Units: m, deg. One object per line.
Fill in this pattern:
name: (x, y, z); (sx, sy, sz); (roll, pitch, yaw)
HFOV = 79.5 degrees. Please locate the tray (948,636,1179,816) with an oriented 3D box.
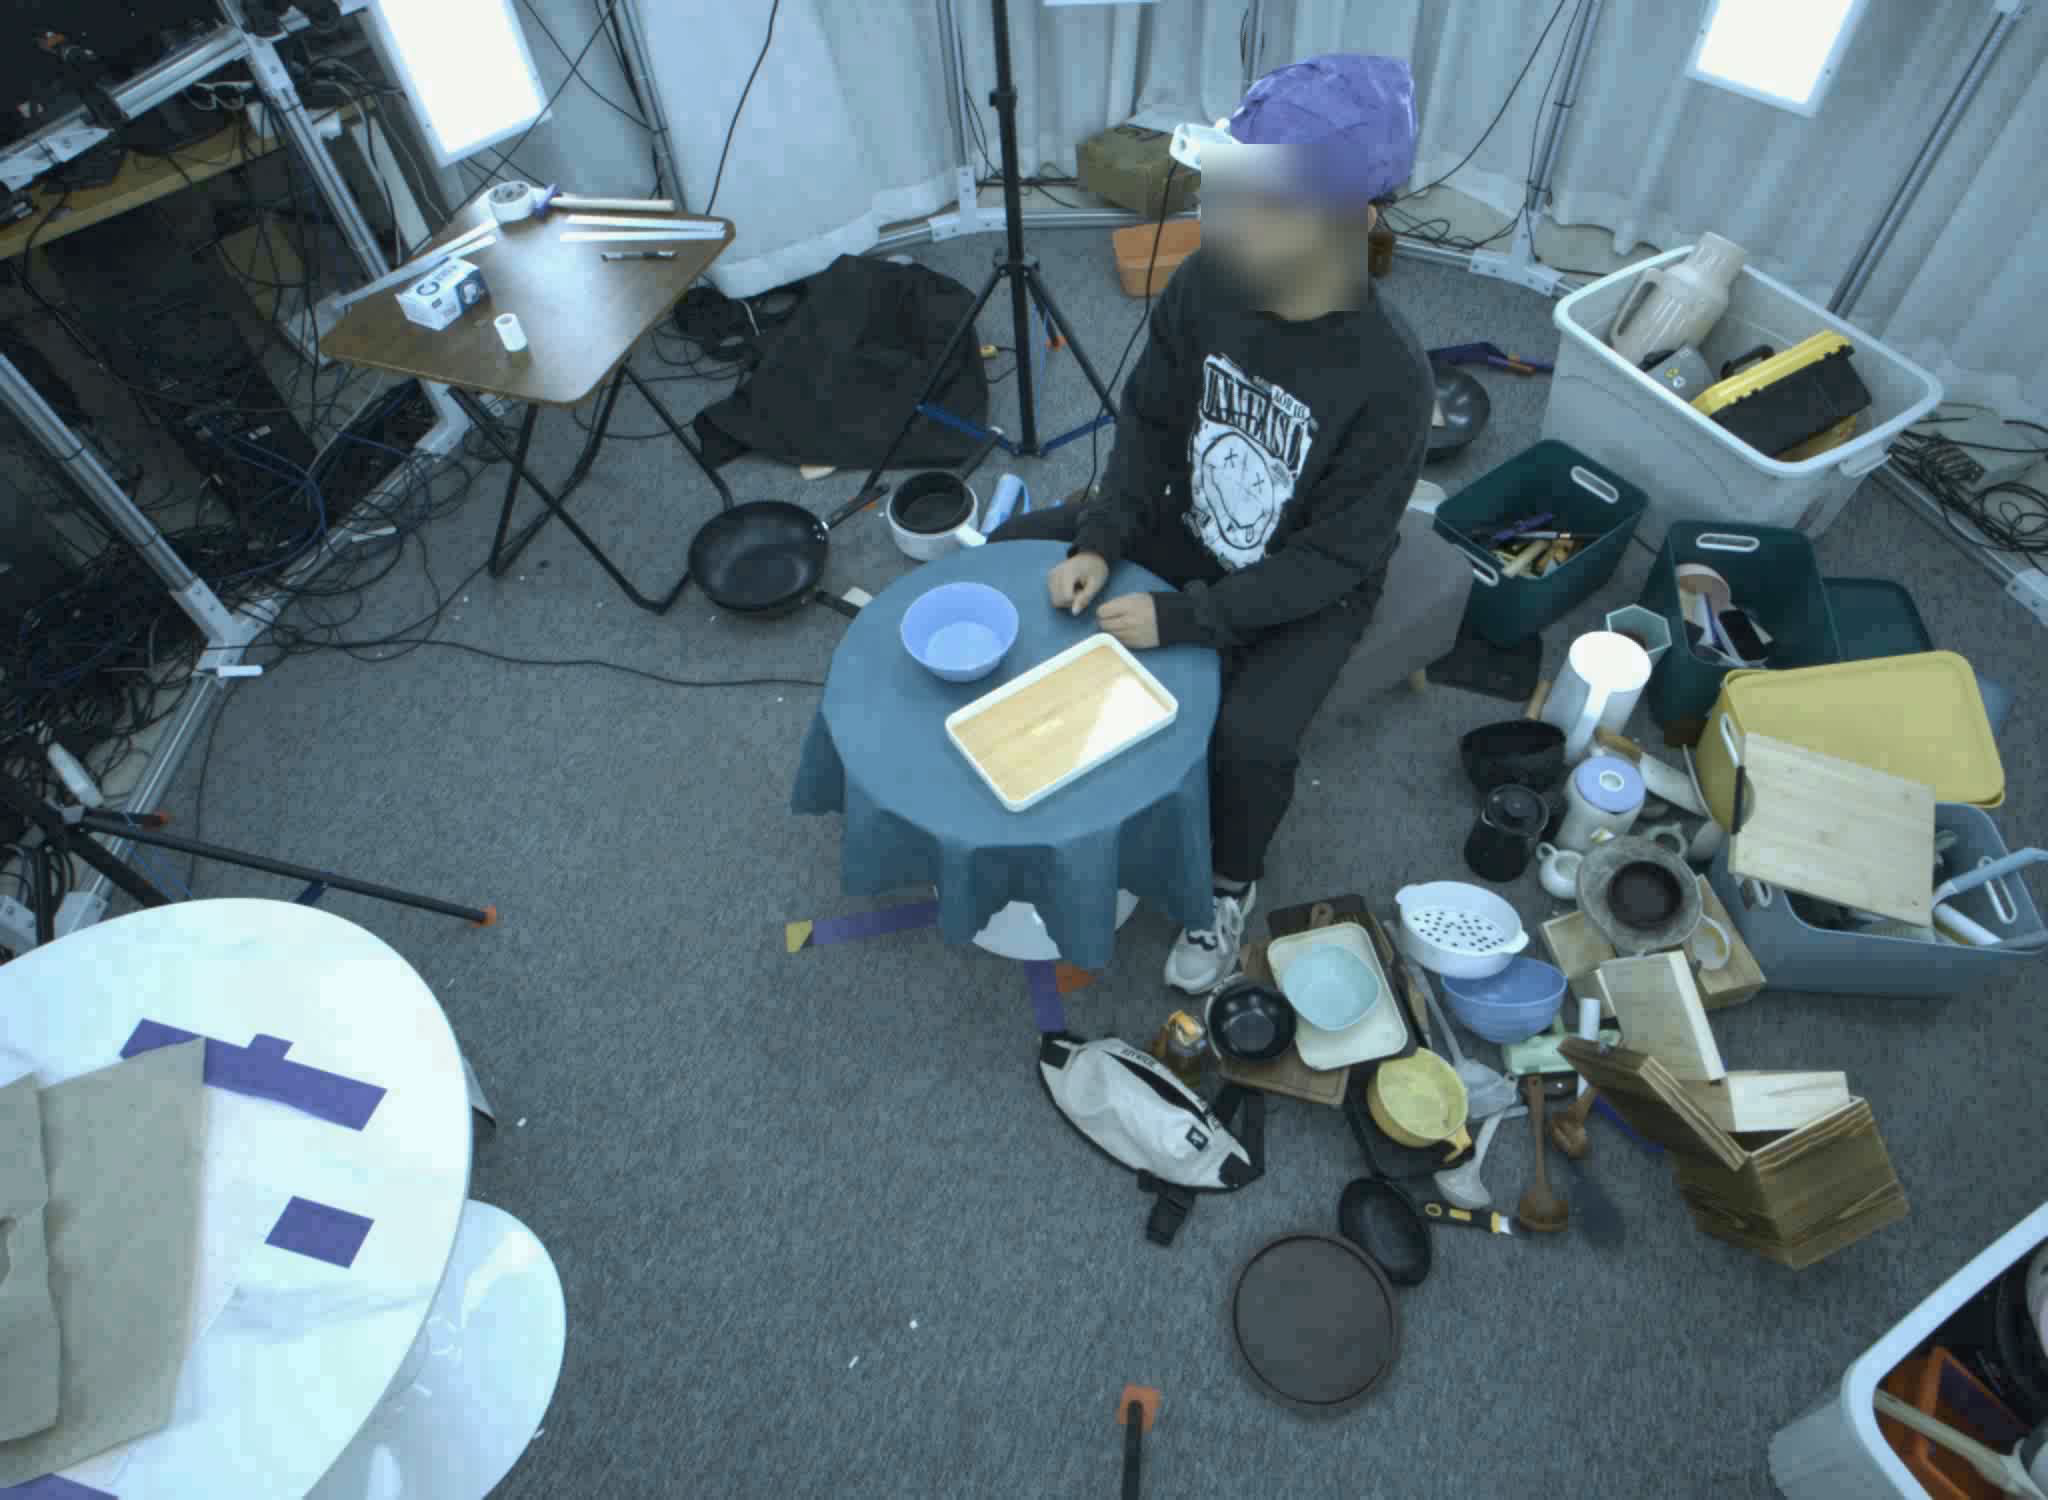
tray: (0.058, -0.040, 1.808); (0.302, 0.028, 0.188); (-30, 60, -18)

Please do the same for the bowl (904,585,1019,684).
bowl: (-0.093, -0.166, 1.874); (0.176, 0.071, 0.174); (0, 56, 2)
